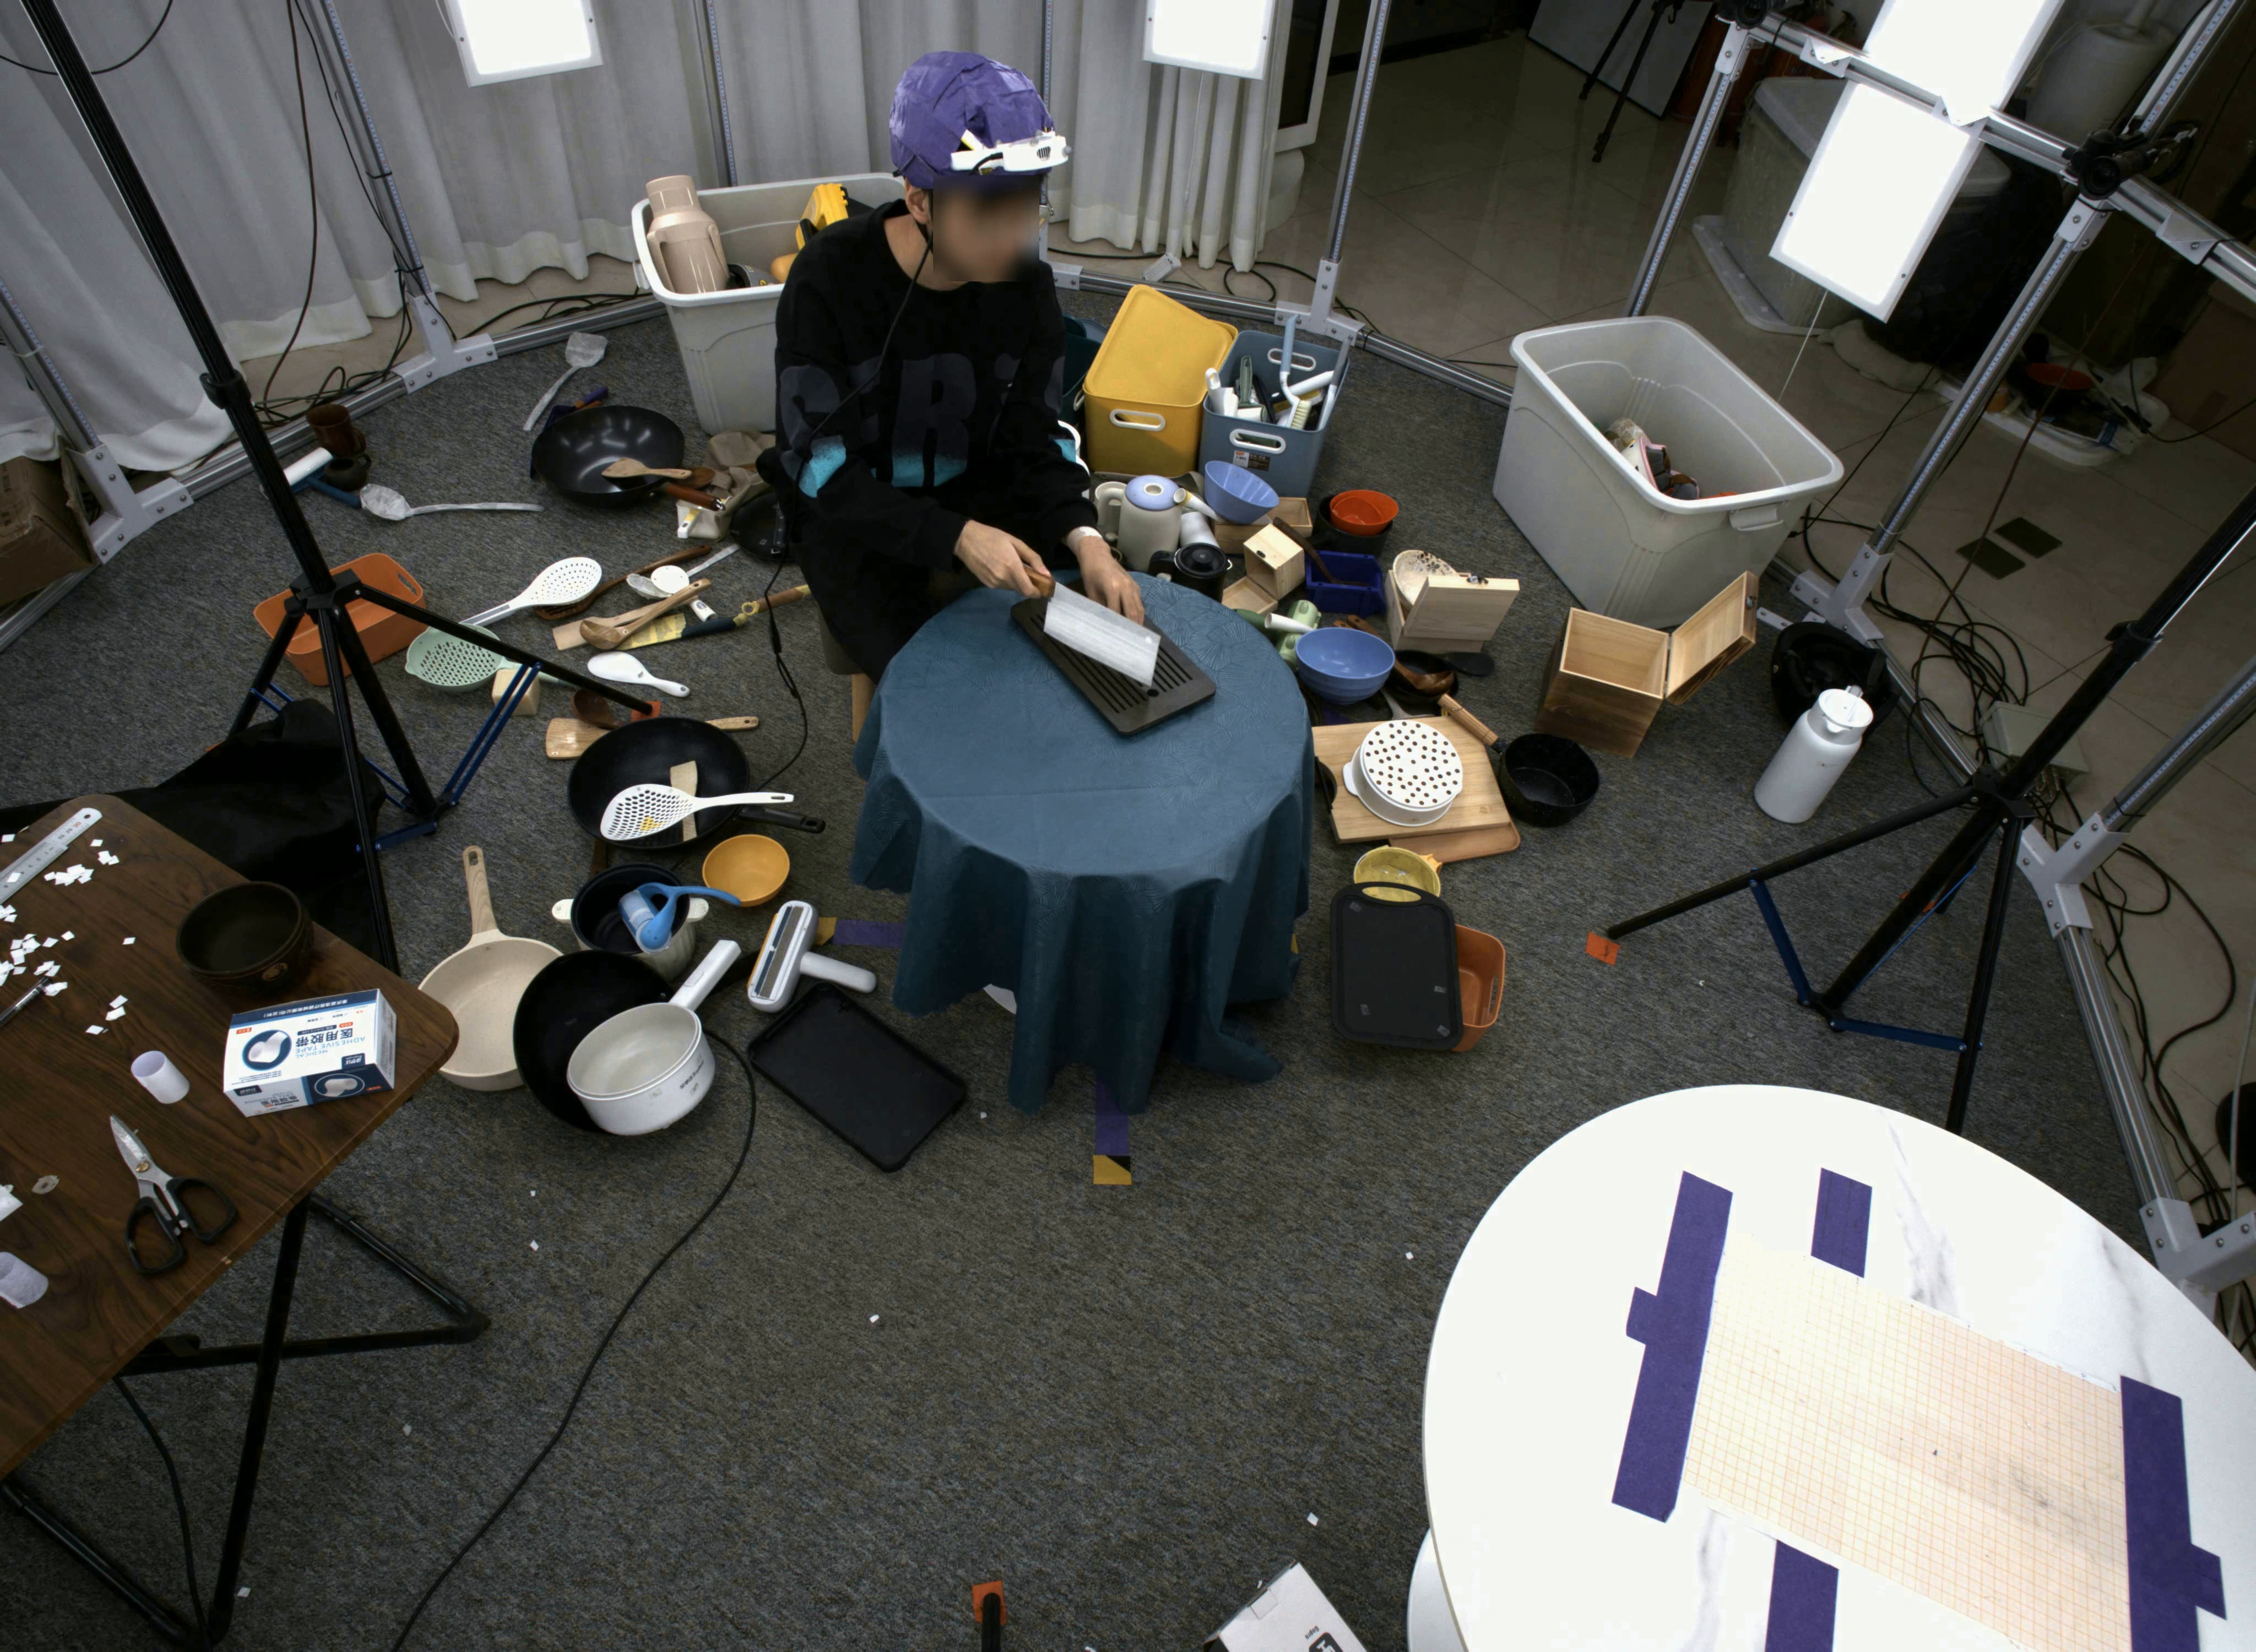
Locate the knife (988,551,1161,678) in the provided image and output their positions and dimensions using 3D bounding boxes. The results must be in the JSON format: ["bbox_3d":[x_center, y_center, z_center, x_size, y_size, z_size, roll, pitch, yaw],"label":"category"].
[{"bbox_3d":[-0.082,-0.299,1.838,0.309,0.091,0.021,31,43,22],"label":"knife"}]

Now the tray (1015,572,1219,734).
[{"bbox_3d":[-0.019,-0.257,1.878,0.171,0.018,0.312,-25,56,-23],"label":"tray"}]
